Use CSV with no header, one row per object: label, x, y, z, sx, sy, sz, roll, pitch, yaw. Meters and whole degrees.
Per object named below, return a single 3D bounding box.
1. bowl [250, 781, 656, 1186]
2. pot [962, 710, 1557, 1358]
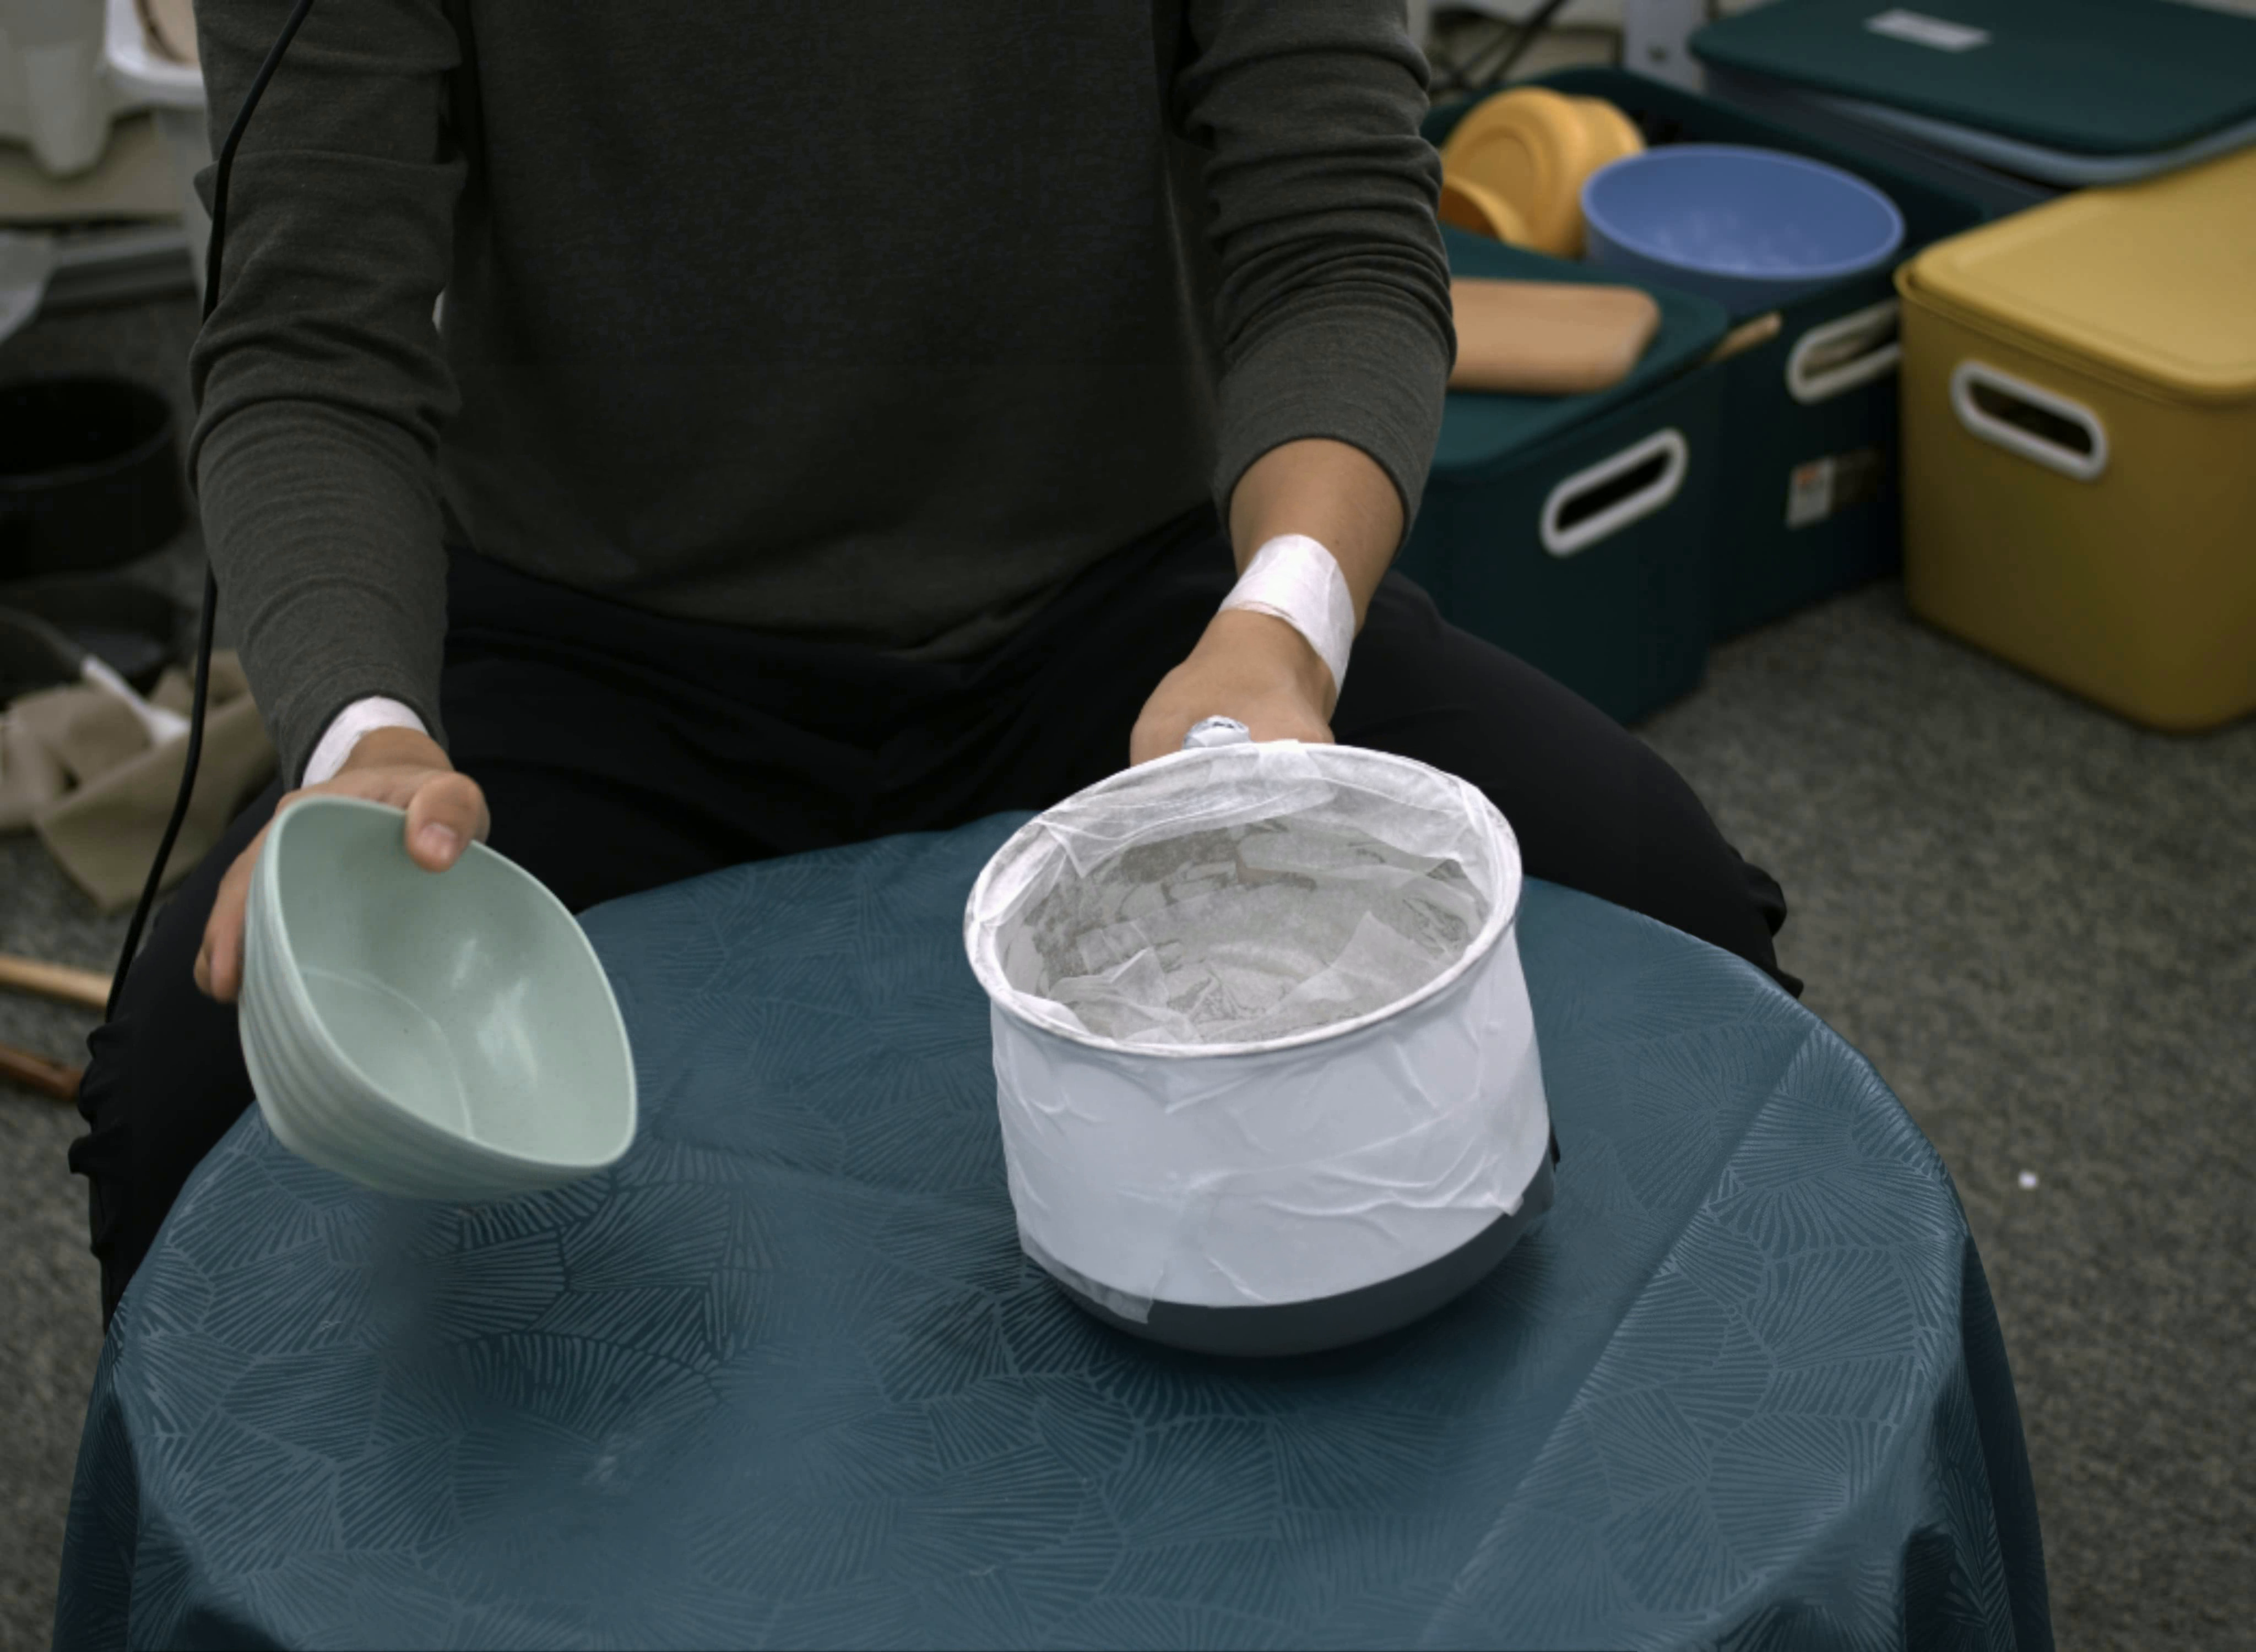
bowl,-0.222,0.061,1.759,0.151,0.057,0.154,28,39,-24
pot,0.041,0.058,1.812,0.178,0.135,0.237,-9,31,-1
